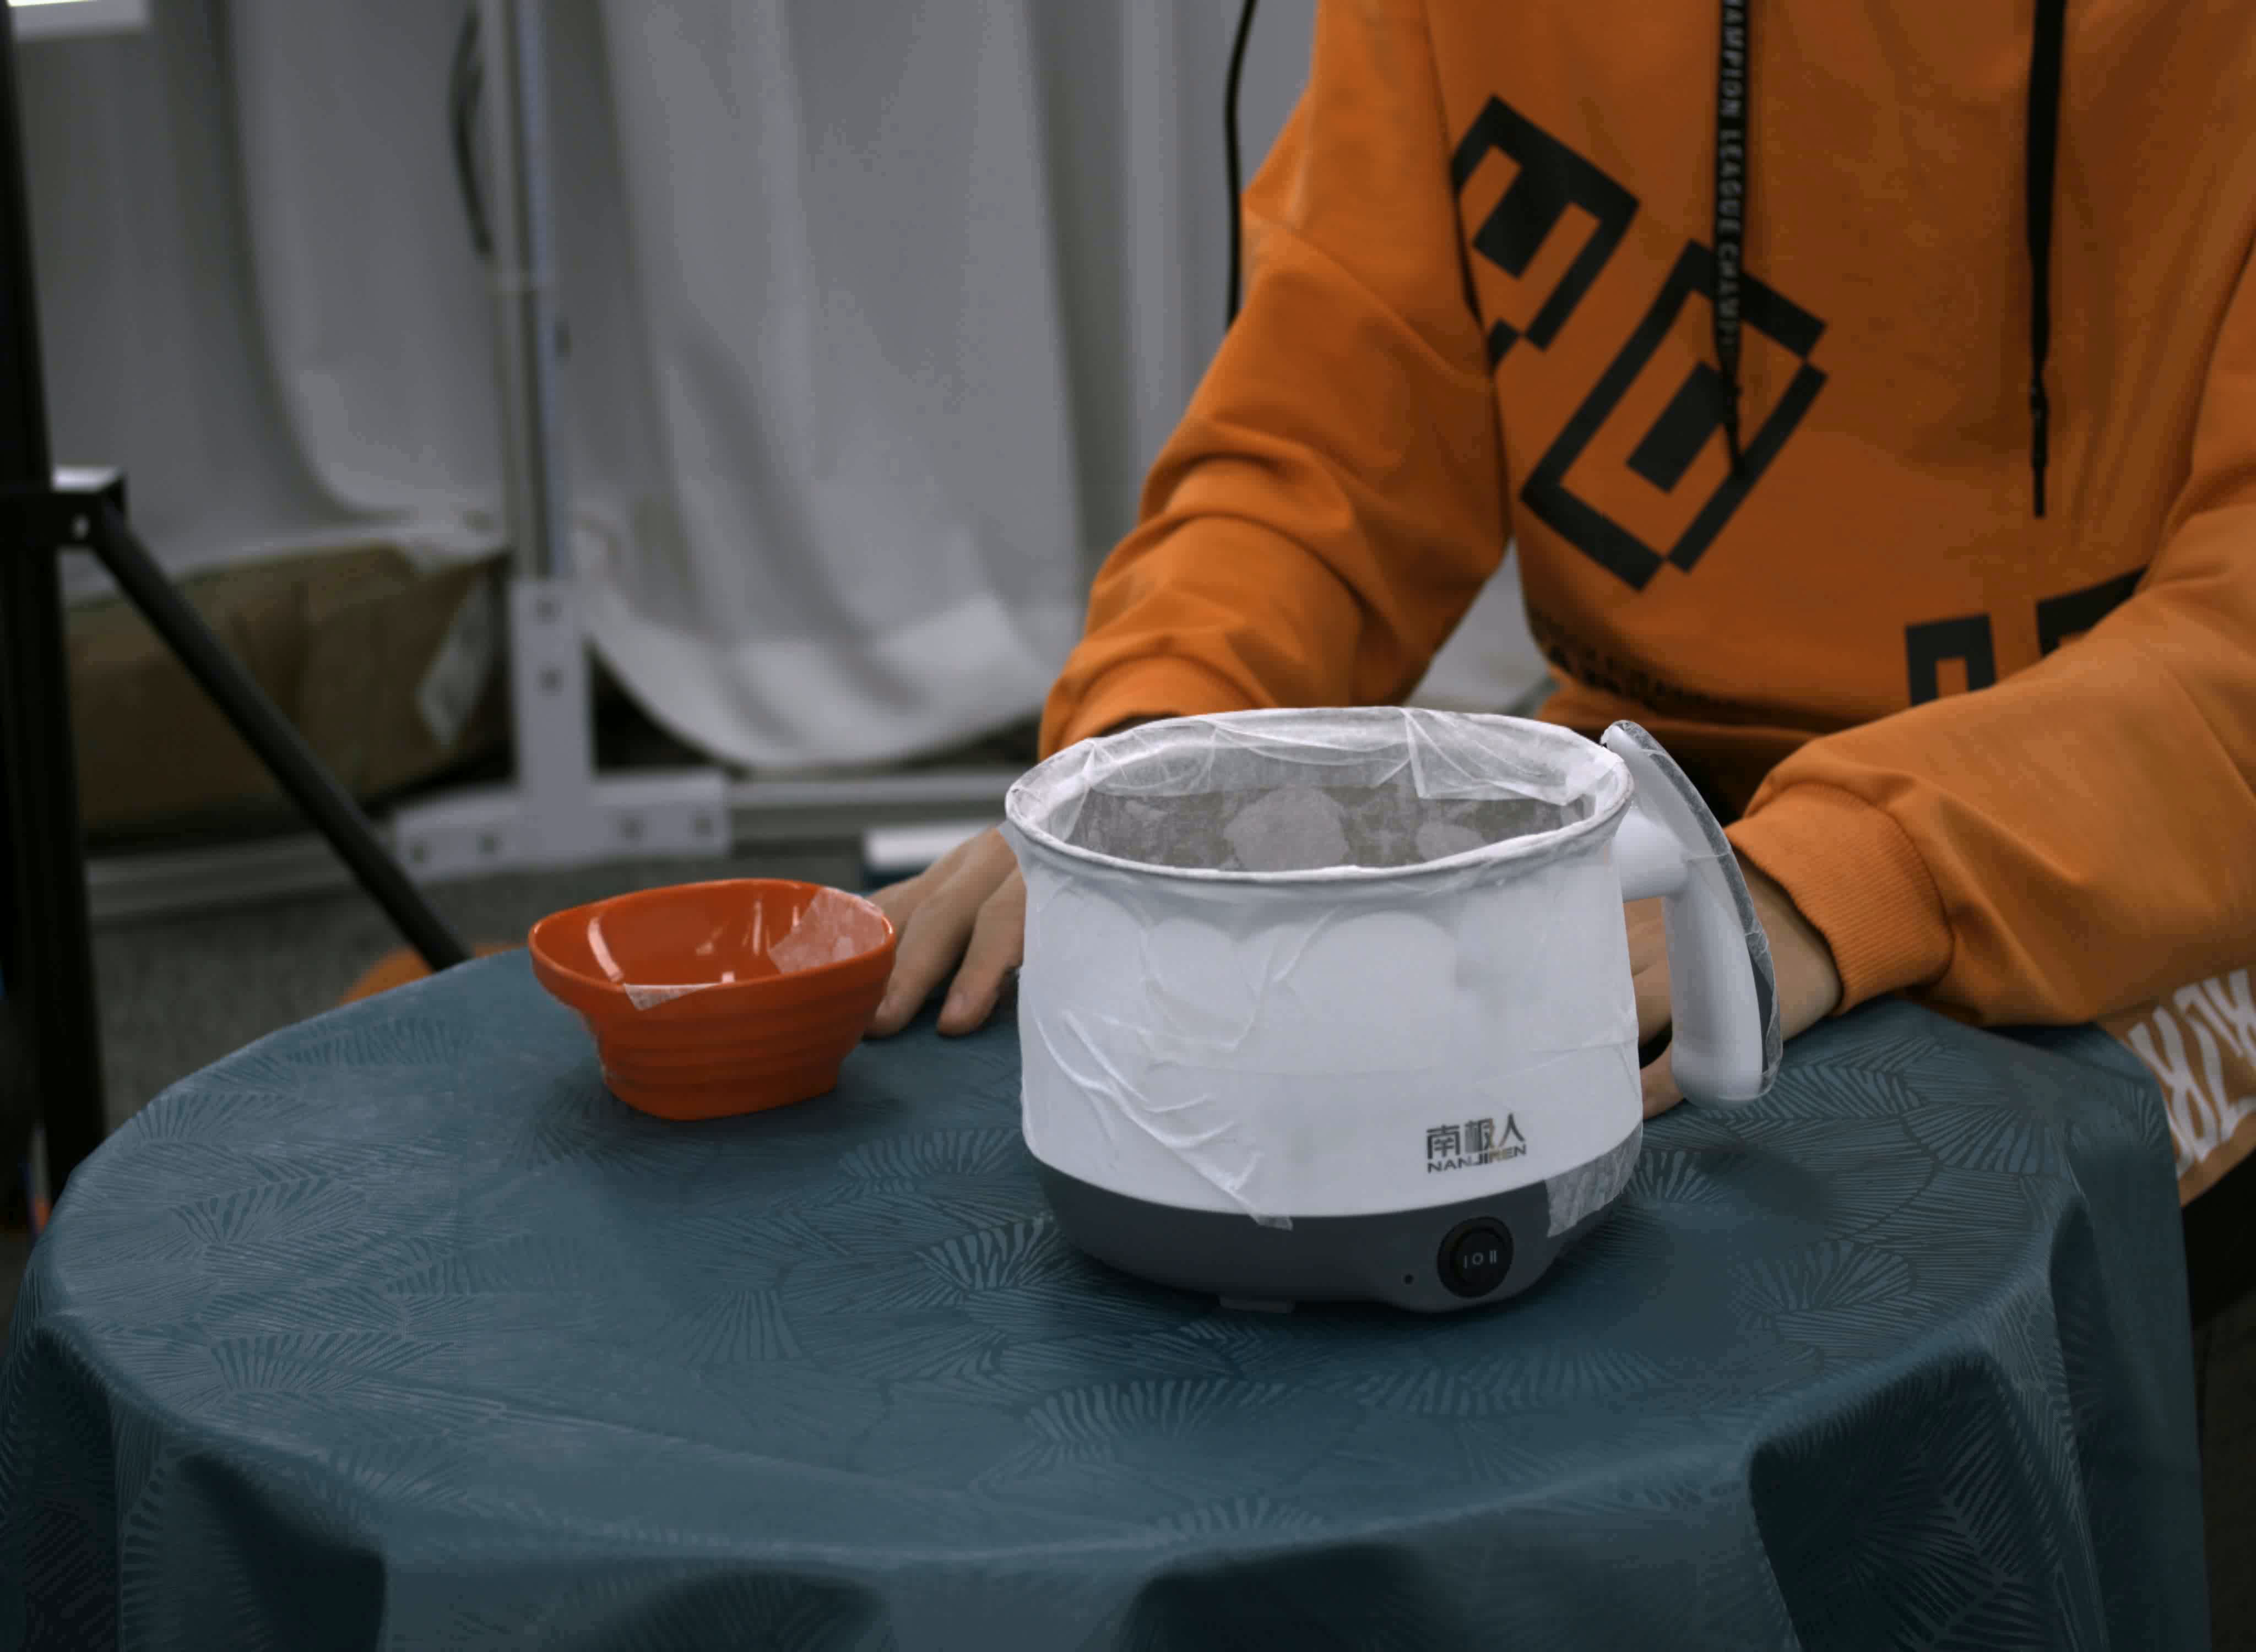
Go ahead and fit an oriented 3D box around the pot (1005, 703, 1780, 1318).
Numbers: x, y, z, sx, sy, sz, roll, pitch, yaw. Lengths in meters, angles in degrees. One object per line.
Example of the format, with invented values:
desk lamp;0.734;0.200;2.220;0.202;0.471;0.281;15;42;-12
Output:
pot;0.081;0.046;1.512;0.229;0.136;0.182;-10;17;-24

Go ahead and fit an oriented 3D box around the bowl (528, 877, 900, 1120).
bowl;-0.128;0.056;1.669;0.118;0.051;0.119;-4;15;0
